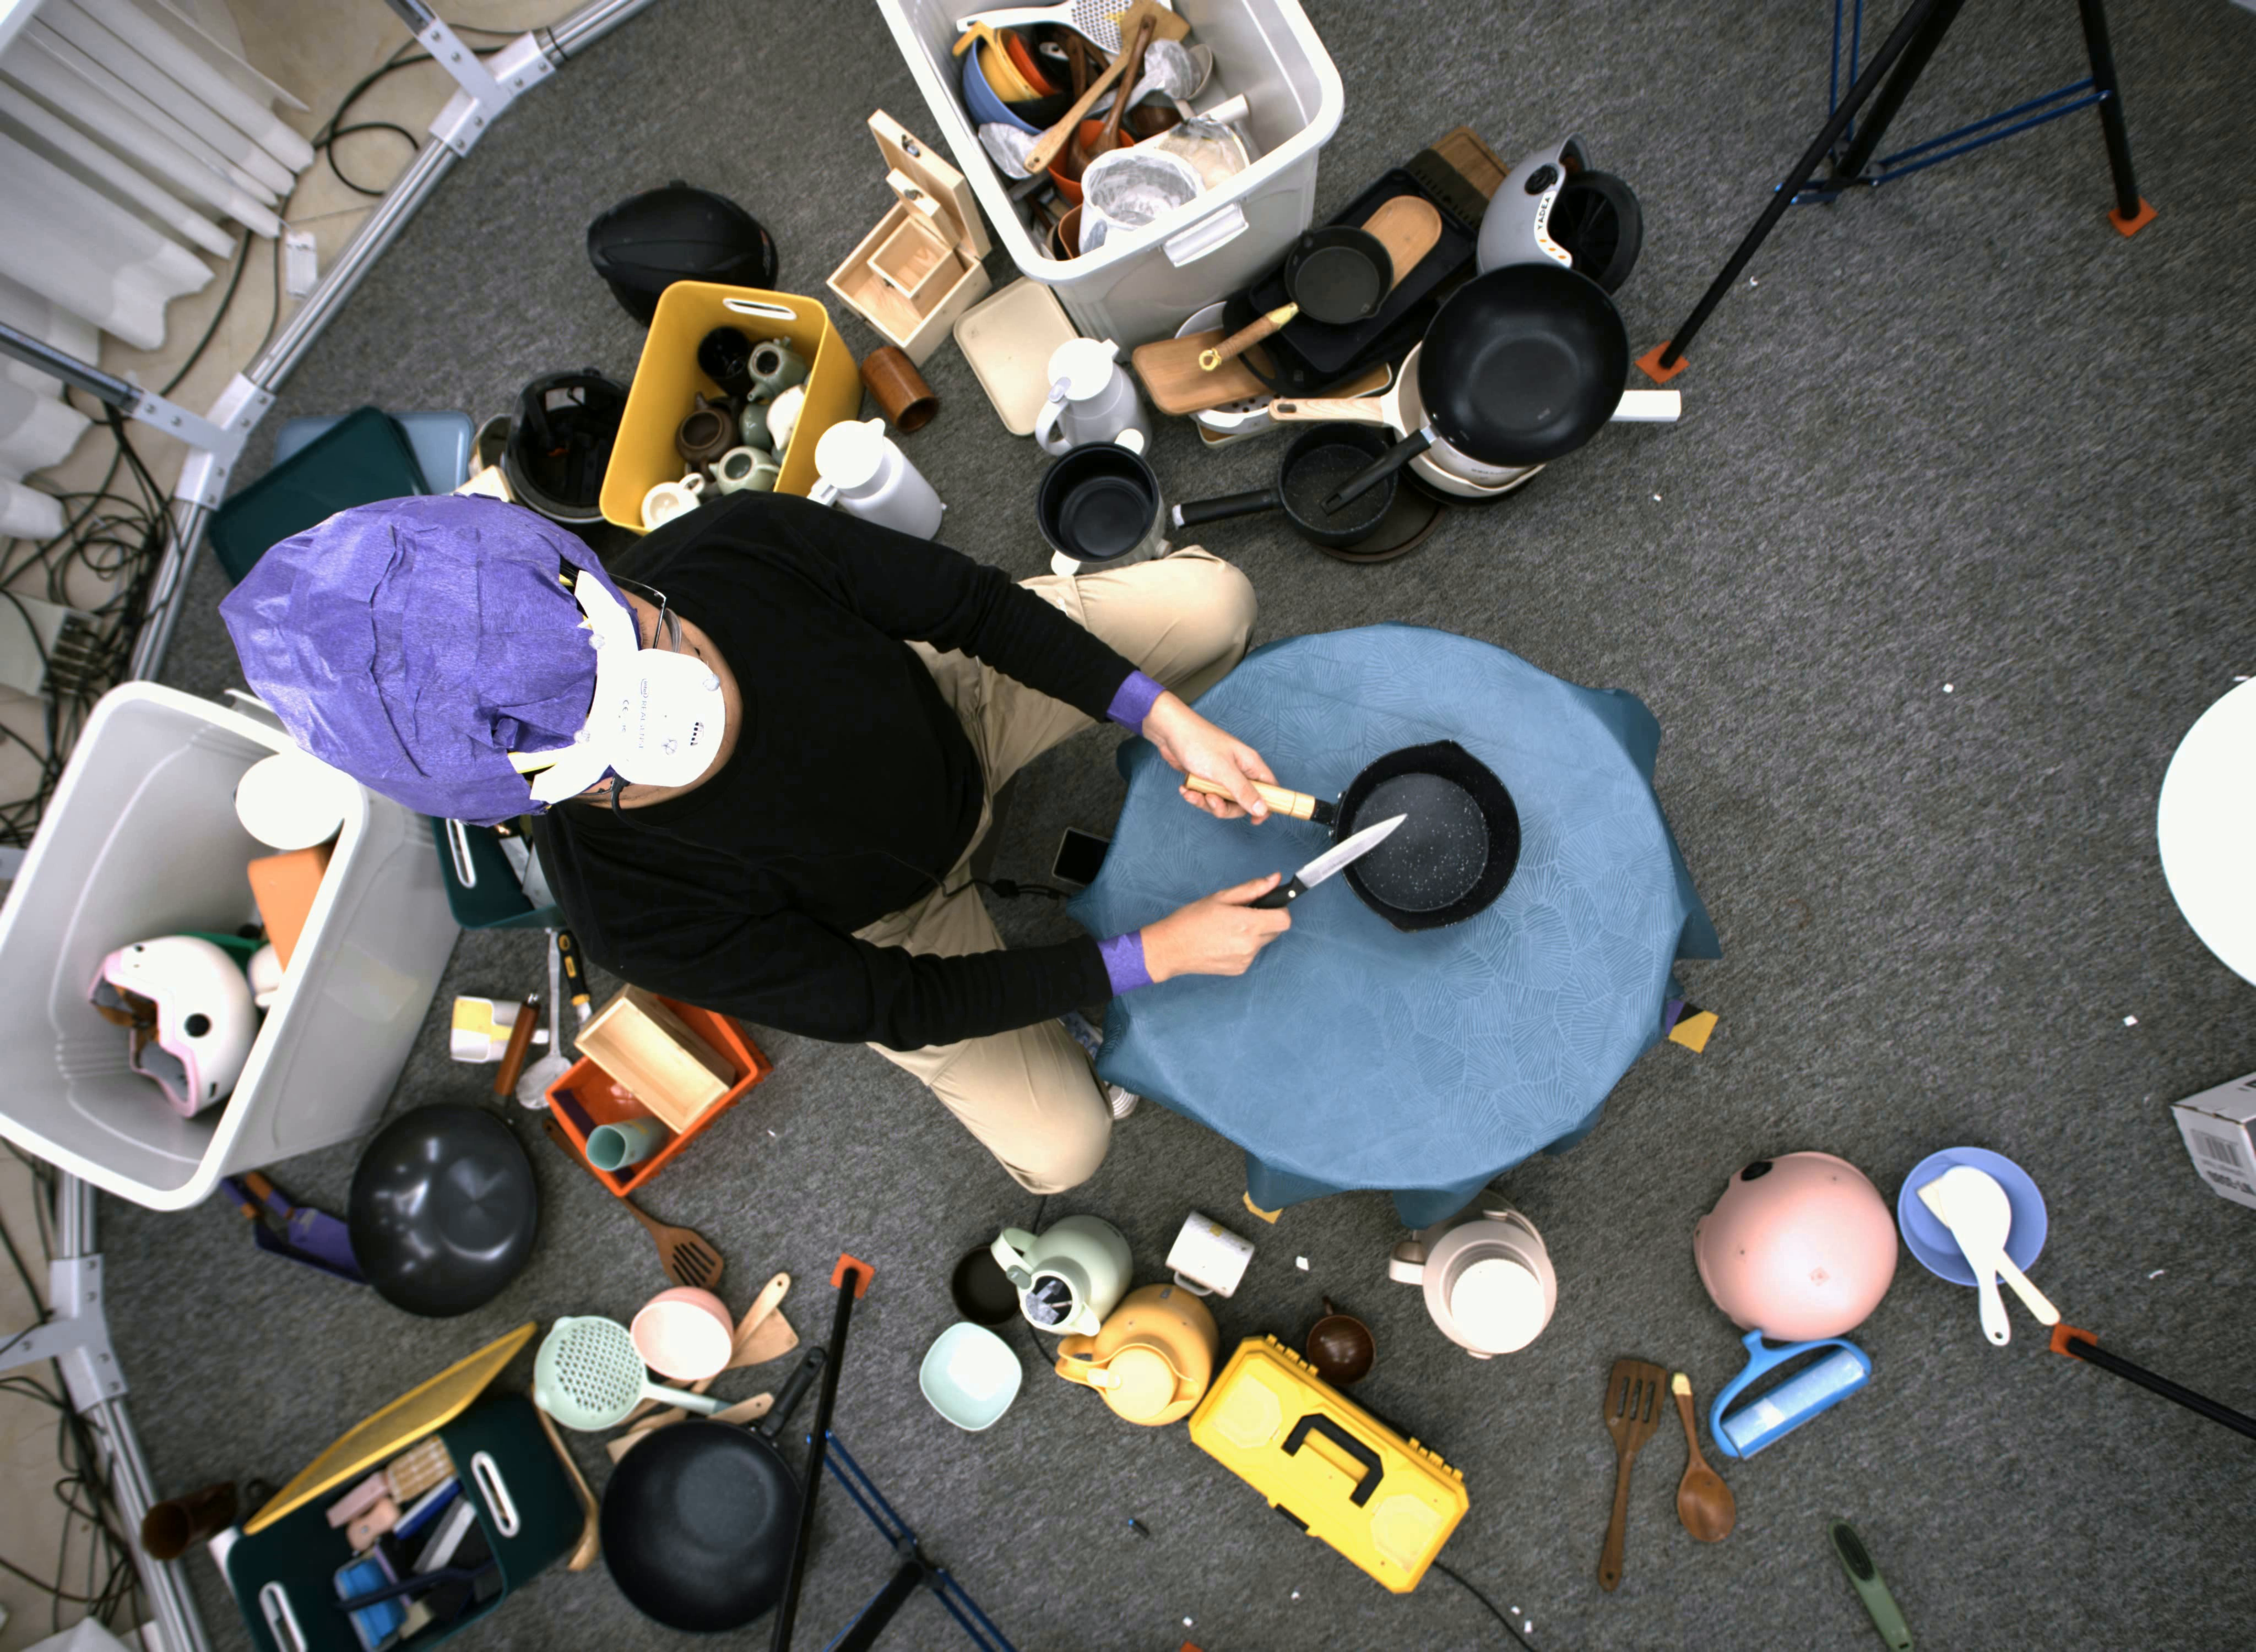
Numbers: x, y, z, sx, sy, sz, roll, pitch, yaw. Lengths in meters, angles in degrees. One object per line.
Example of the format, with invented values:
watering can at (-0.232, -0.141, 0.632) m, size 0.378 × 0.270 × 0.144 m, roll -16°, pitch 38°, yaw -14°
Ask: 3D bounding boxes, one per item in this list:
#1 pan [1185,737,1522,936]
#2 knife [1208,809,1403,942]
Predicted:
pan at (0.224, -0.006, 1.409) m, size 0.343 × 0.108 × 0.207 m, roll 13°, pitch 90°, yaw 6°
knife at (0.179, 0.051, 1.387) m, size 0.241 × 0.016 × 0.024 m, roll -36°, pitch 107°, yaw 21°
